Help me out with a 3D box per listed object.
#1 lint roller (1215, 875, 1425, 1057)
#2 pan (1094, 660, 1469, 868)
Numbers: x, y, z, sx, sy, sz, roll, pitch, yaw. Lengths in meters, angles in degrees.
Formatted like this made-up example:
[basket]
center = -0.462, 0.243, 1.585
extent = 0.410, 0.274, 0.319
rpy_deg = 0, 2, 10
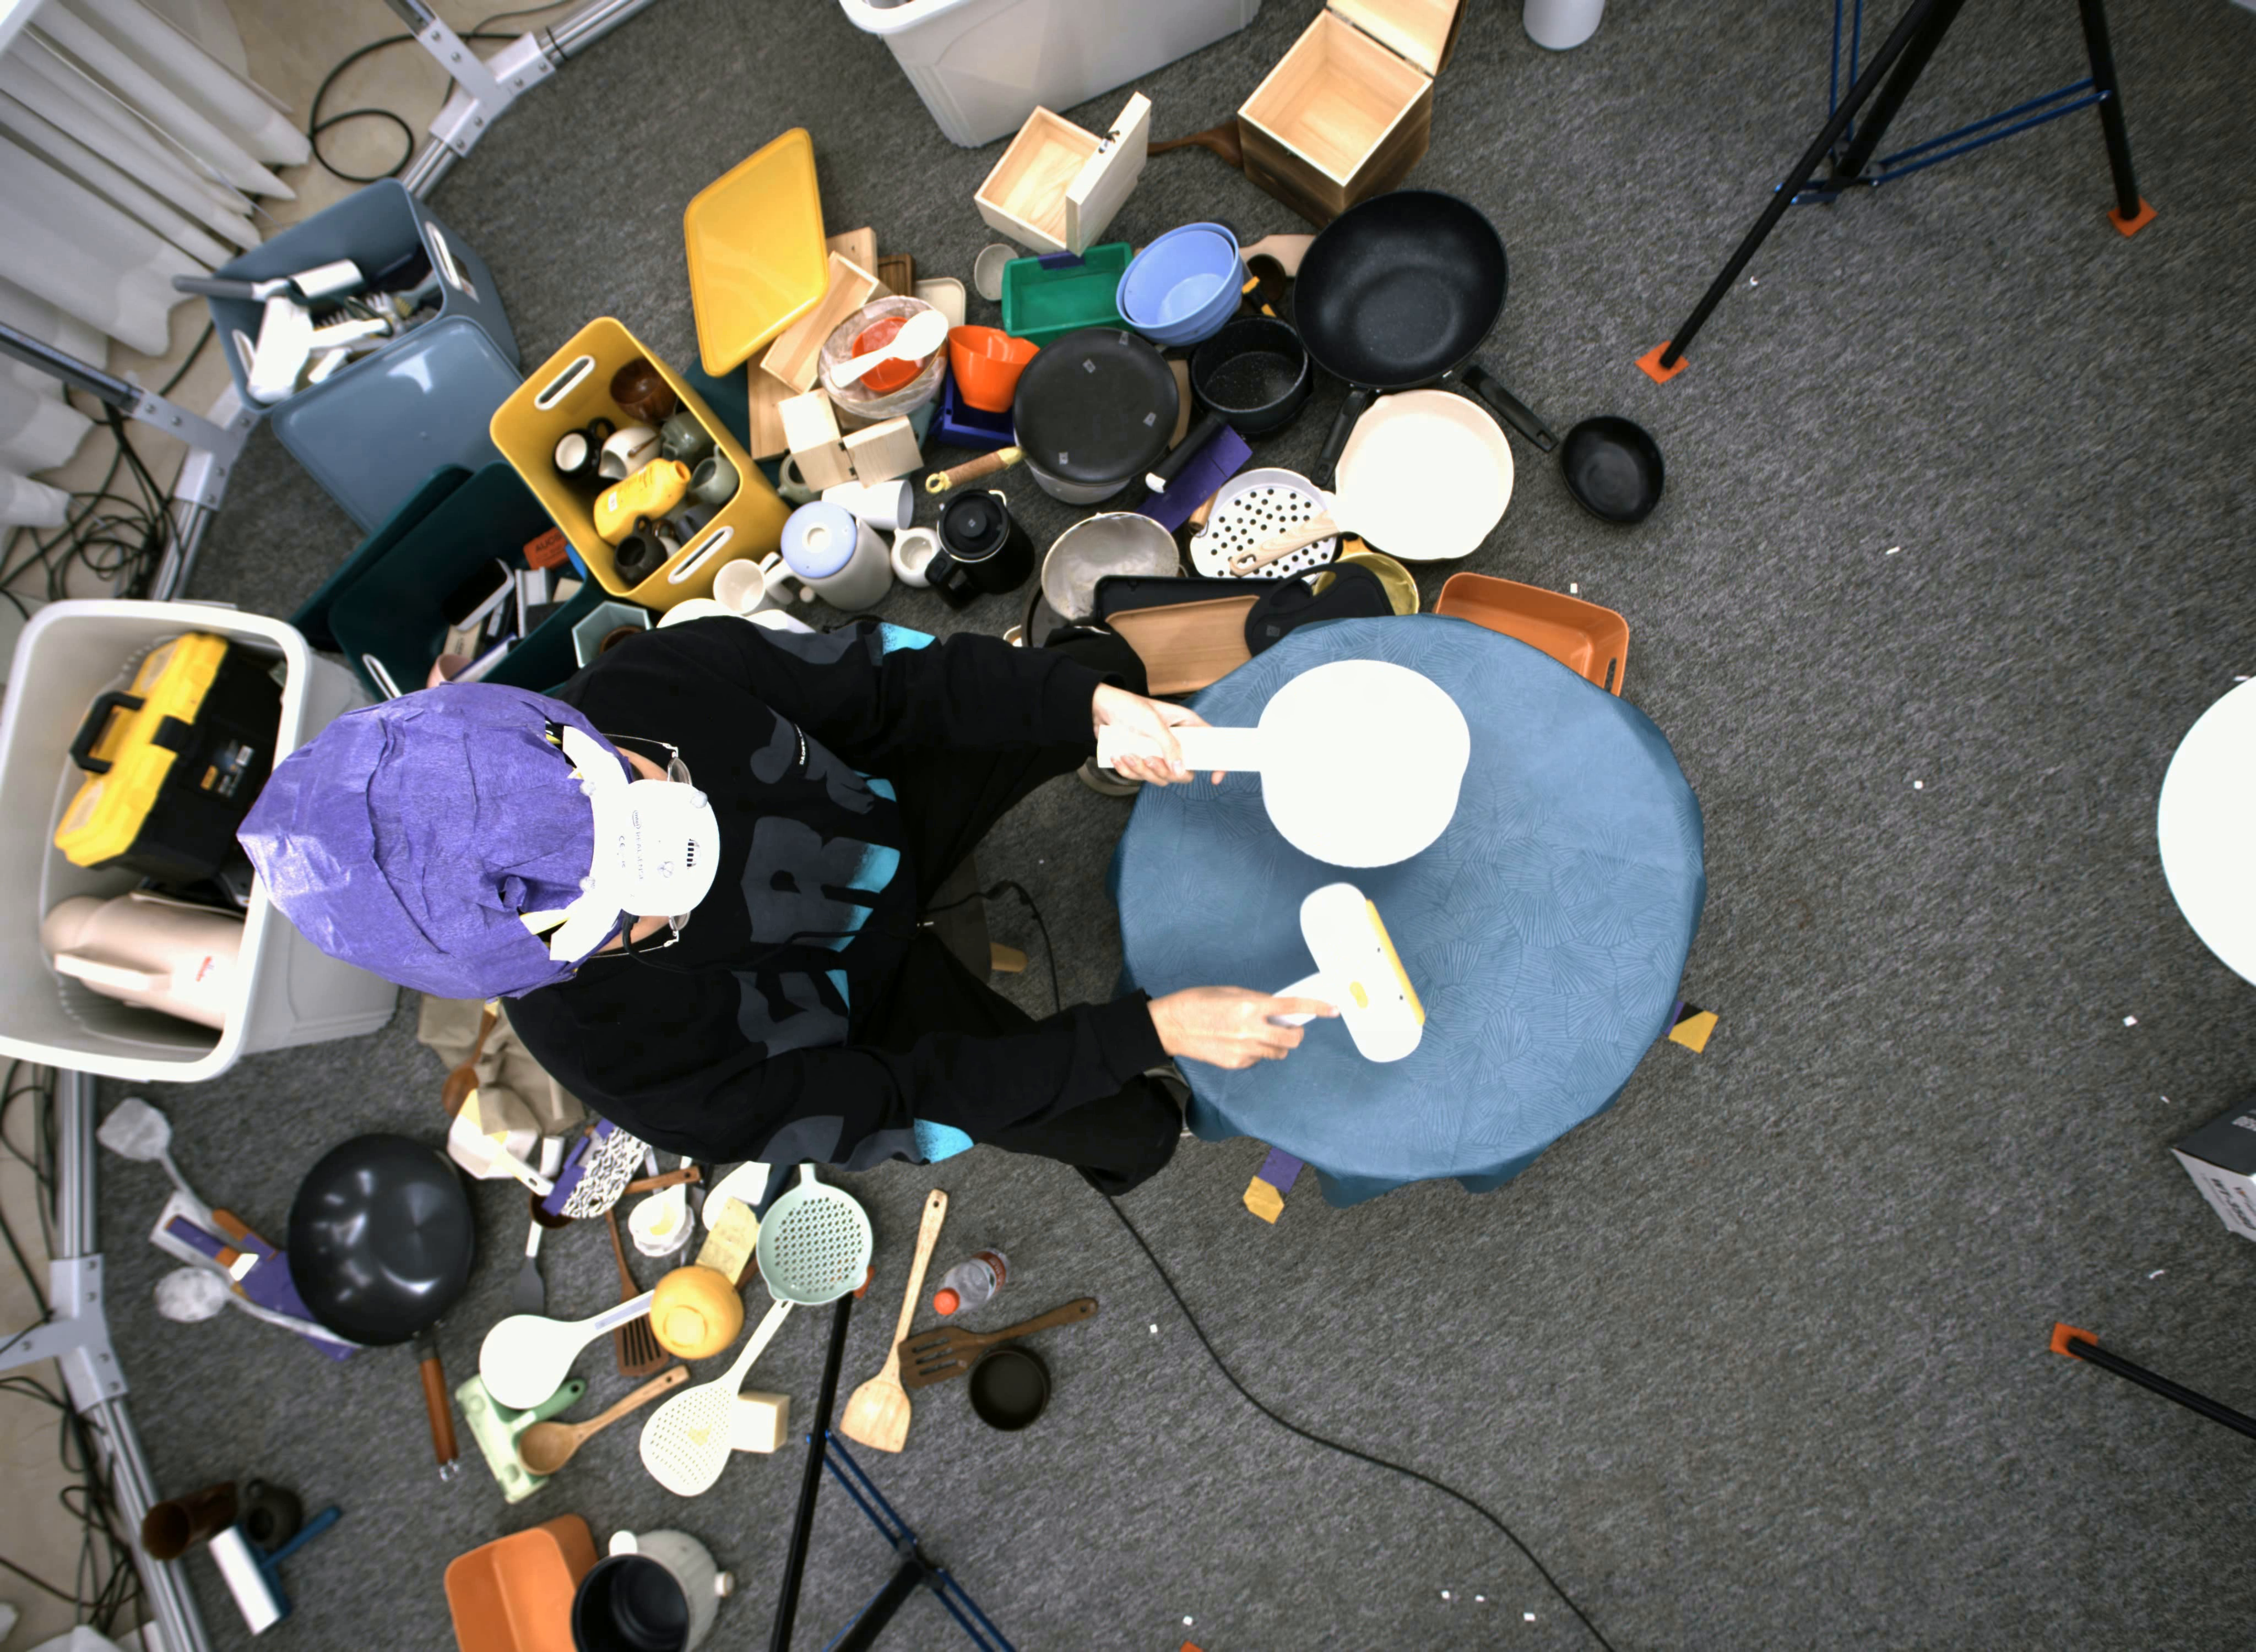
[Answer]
[lint roller]
center = 0.170, 0.161, 1.335
extent = 0.194, 0.072, 0.195
rpy_deg = -26, 116, 17
[pan]
center = 0.147, -0.059, 1.346
extent = 0.356, 0.104, 0.196
rpy_deg = 2, 56, 8
